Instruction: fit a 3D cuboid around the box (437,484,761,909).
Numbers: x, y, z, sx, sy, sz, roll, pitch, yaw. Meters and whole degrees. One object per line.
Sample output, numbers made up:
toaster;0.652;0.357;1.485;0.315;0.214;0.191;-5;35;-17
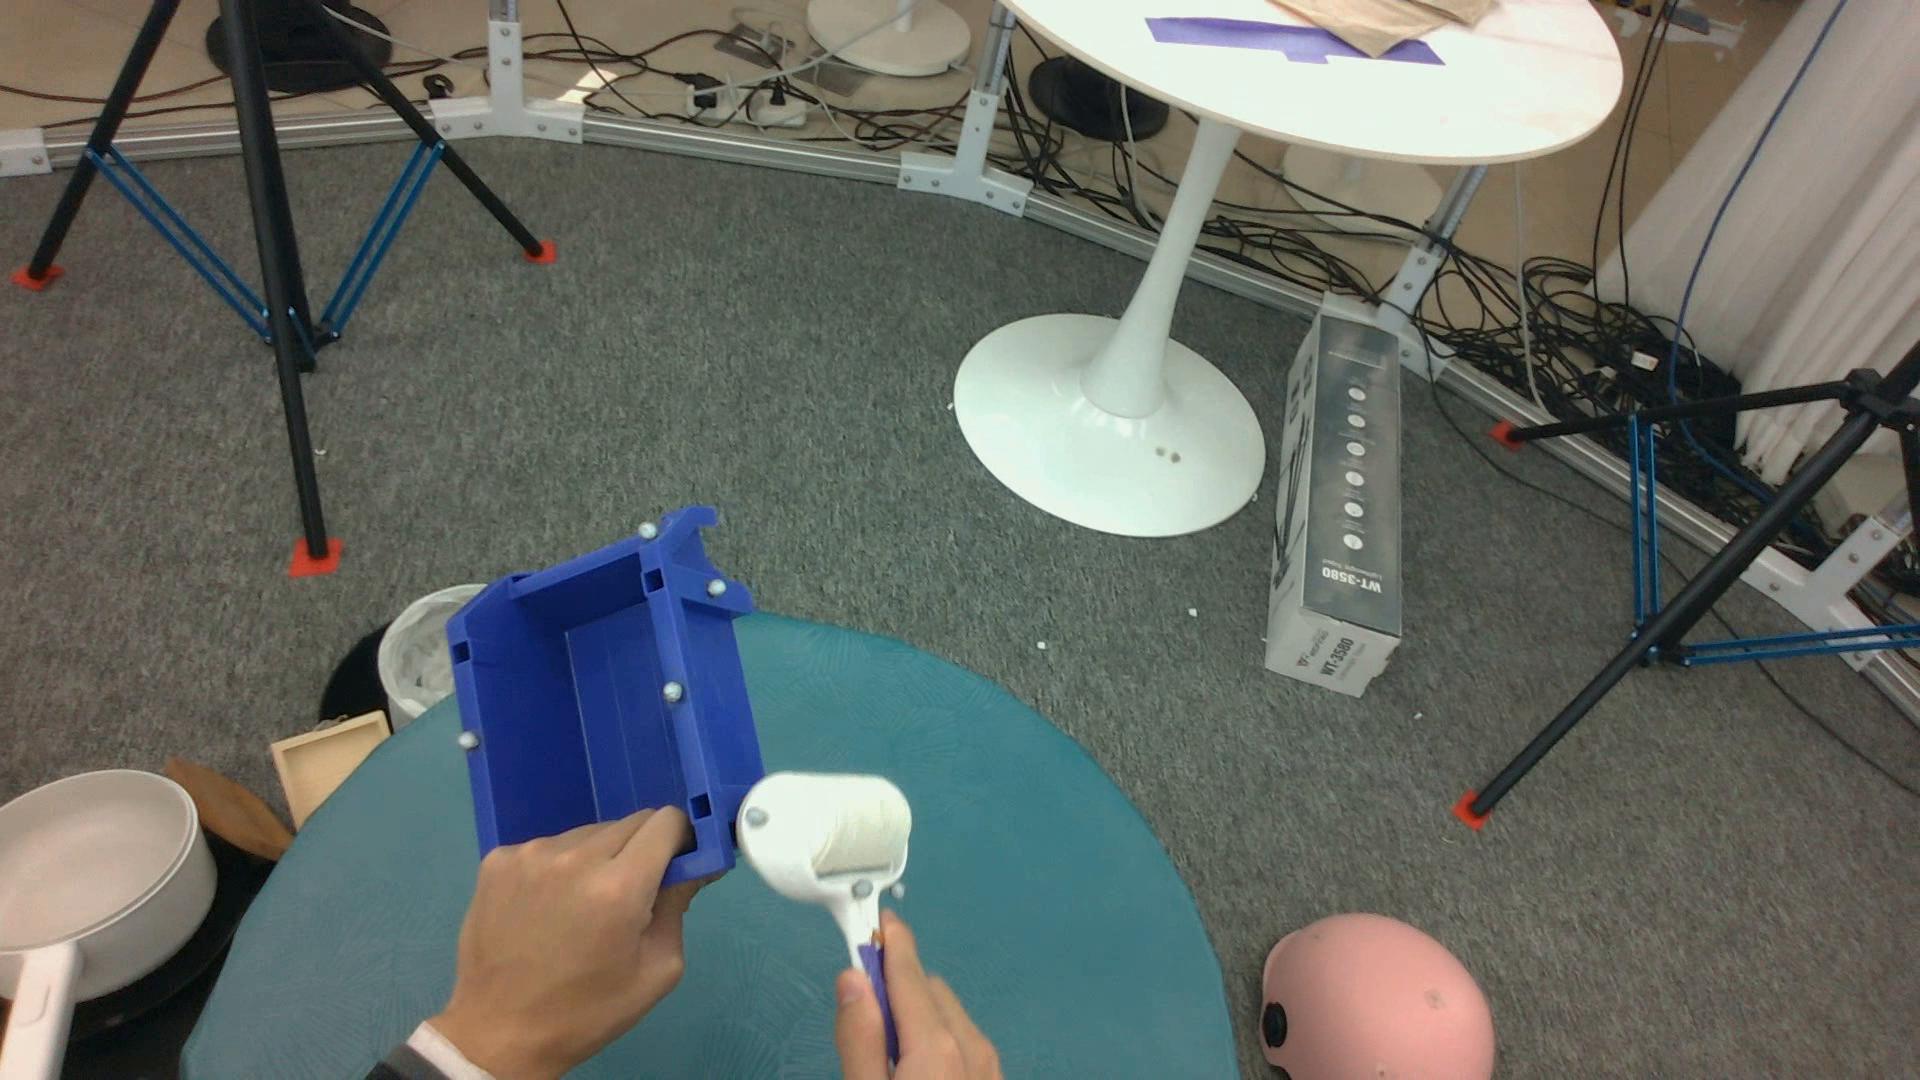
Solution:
box;-0.171;0.071;0.661;0.124;0.082;0.179;-18;76;16

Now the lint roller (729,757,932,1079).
lint roller;-0.037;0.181;0.619;0.050;0.133;0.181;-31;70;8
